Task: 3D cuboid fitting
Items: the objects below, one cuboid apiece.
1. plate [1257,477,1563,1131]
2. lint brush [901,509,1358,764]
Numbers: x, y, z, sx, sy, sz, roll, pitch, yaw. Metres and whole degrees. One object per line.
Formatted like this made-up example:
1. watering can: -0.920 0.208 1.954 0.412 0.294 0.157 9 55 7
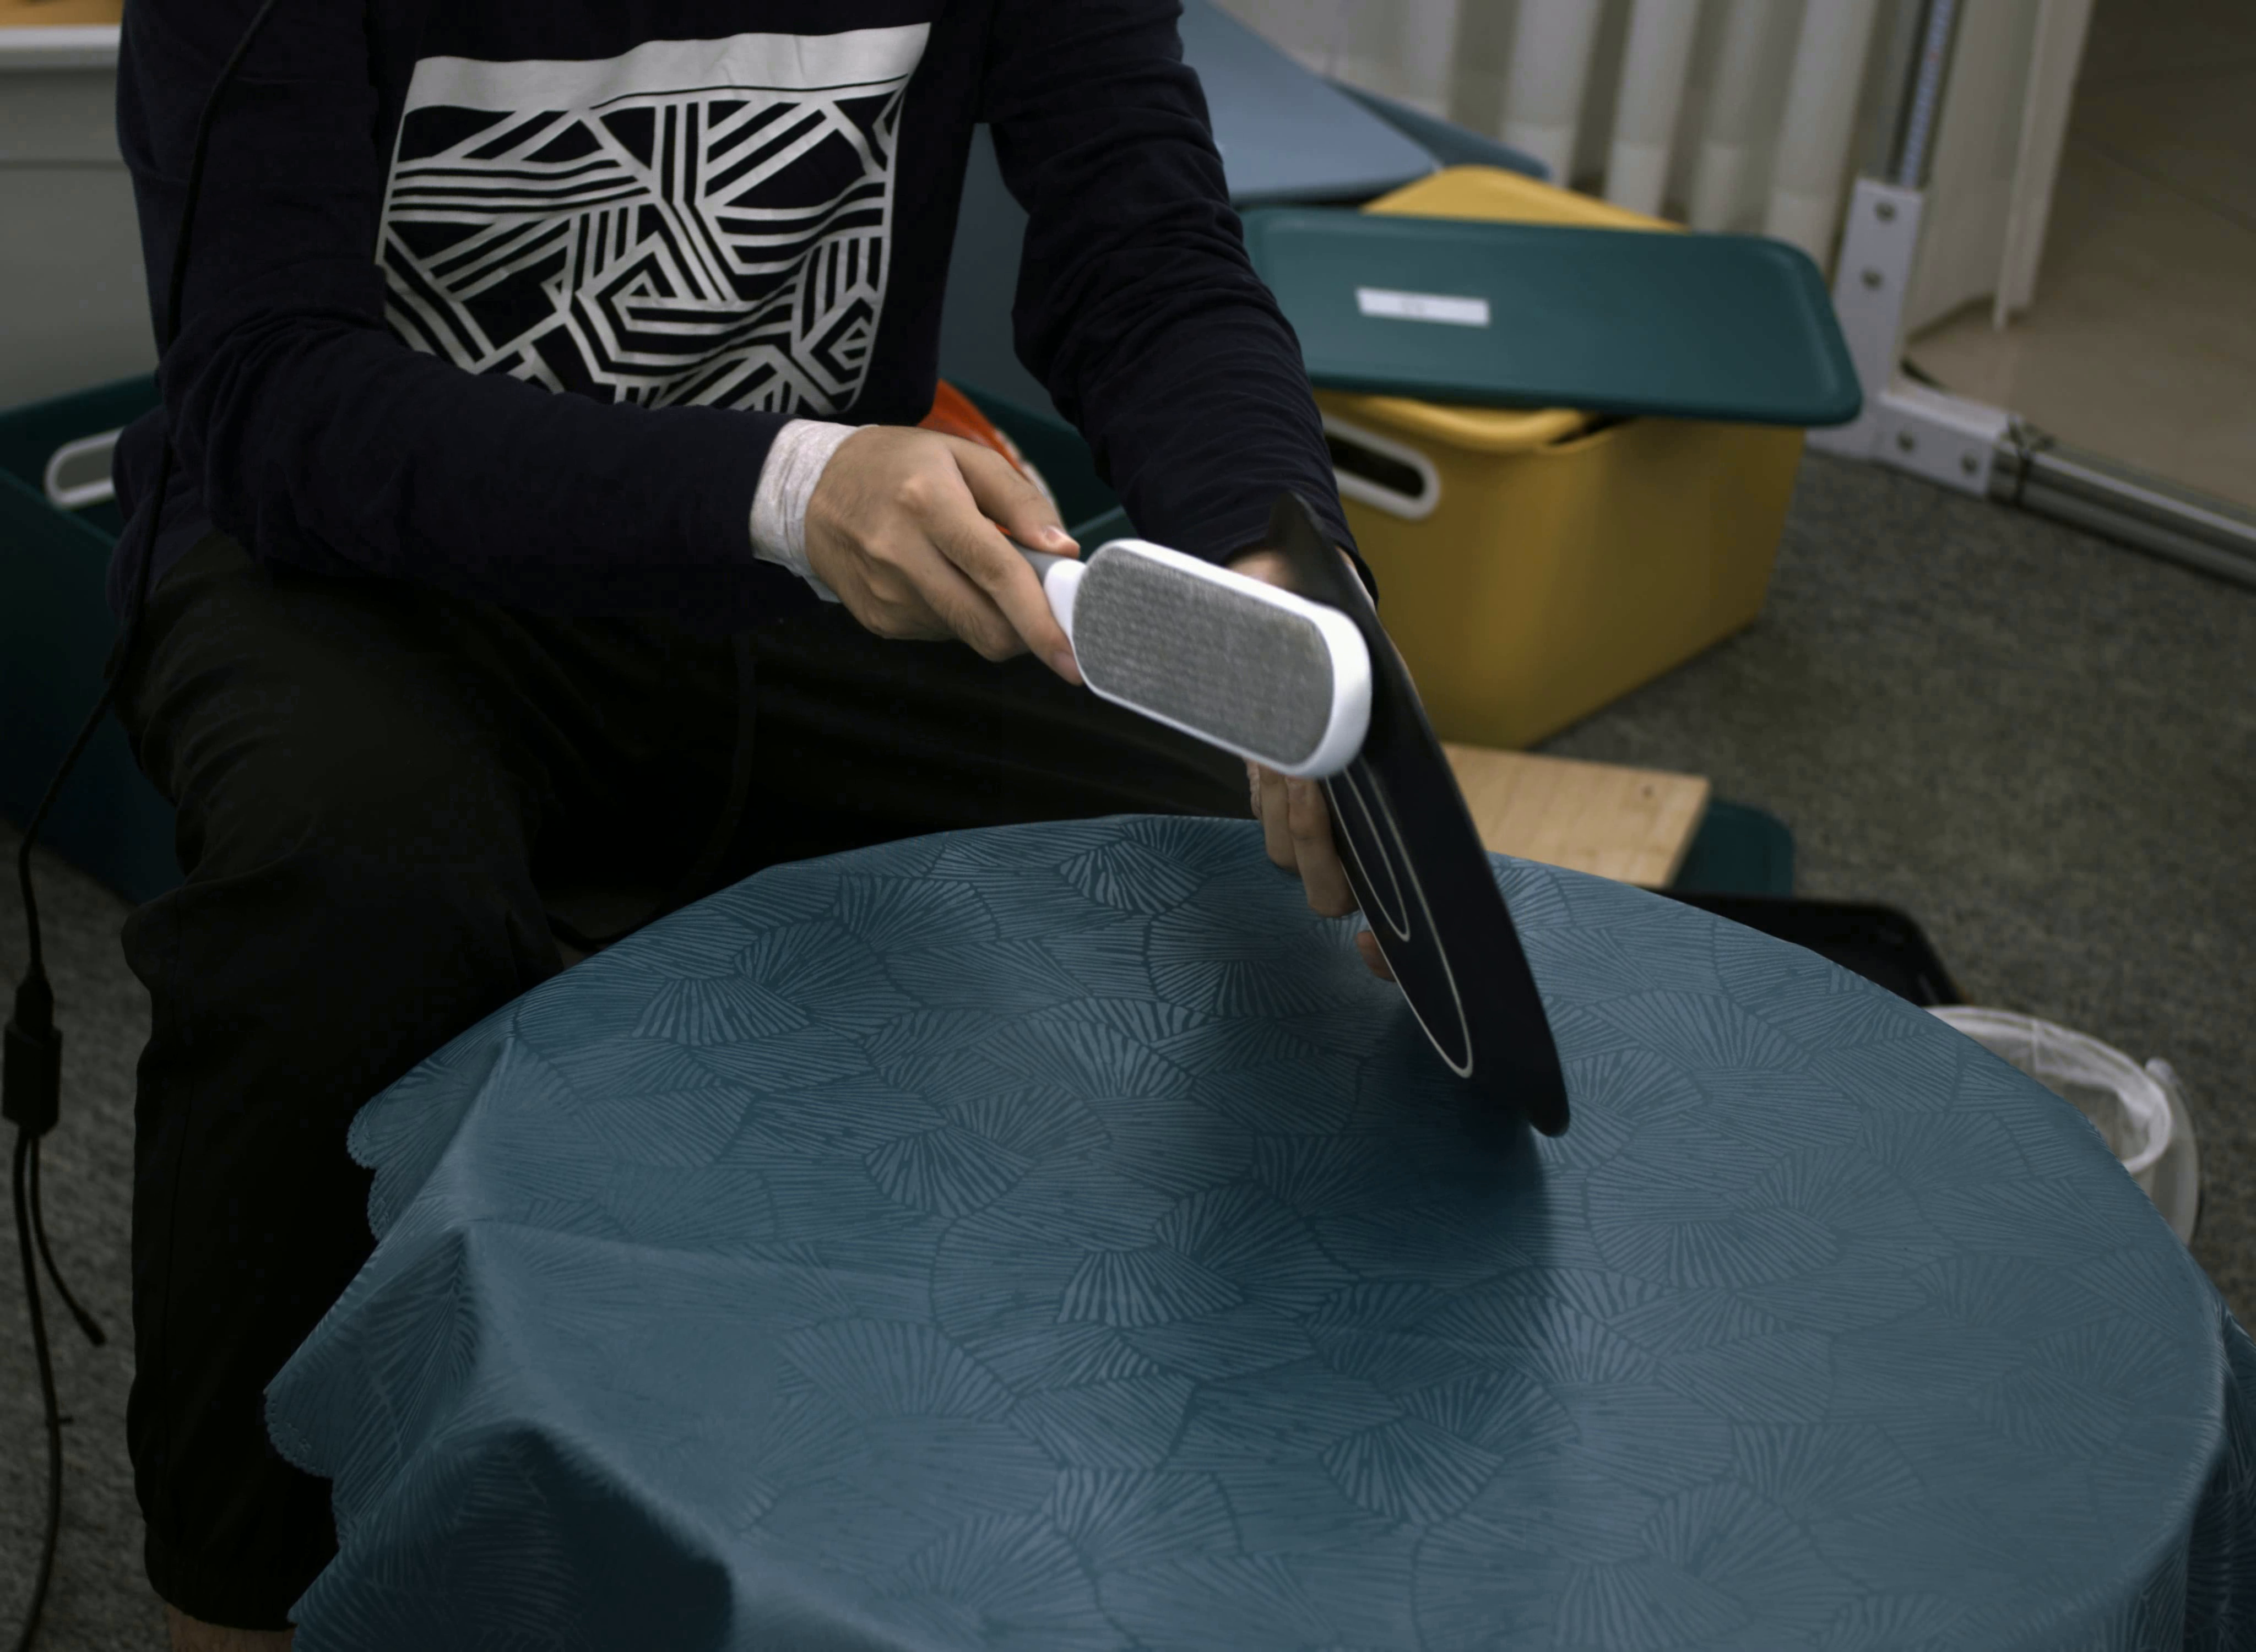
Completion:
1. plate: 0.091 -0.004 1.833 0.023 0.243 0.246 -22 32 -5
2. lint brush: -0.004 -0.076 1.863 0.021 0.060 0.311 -3 13 -29
